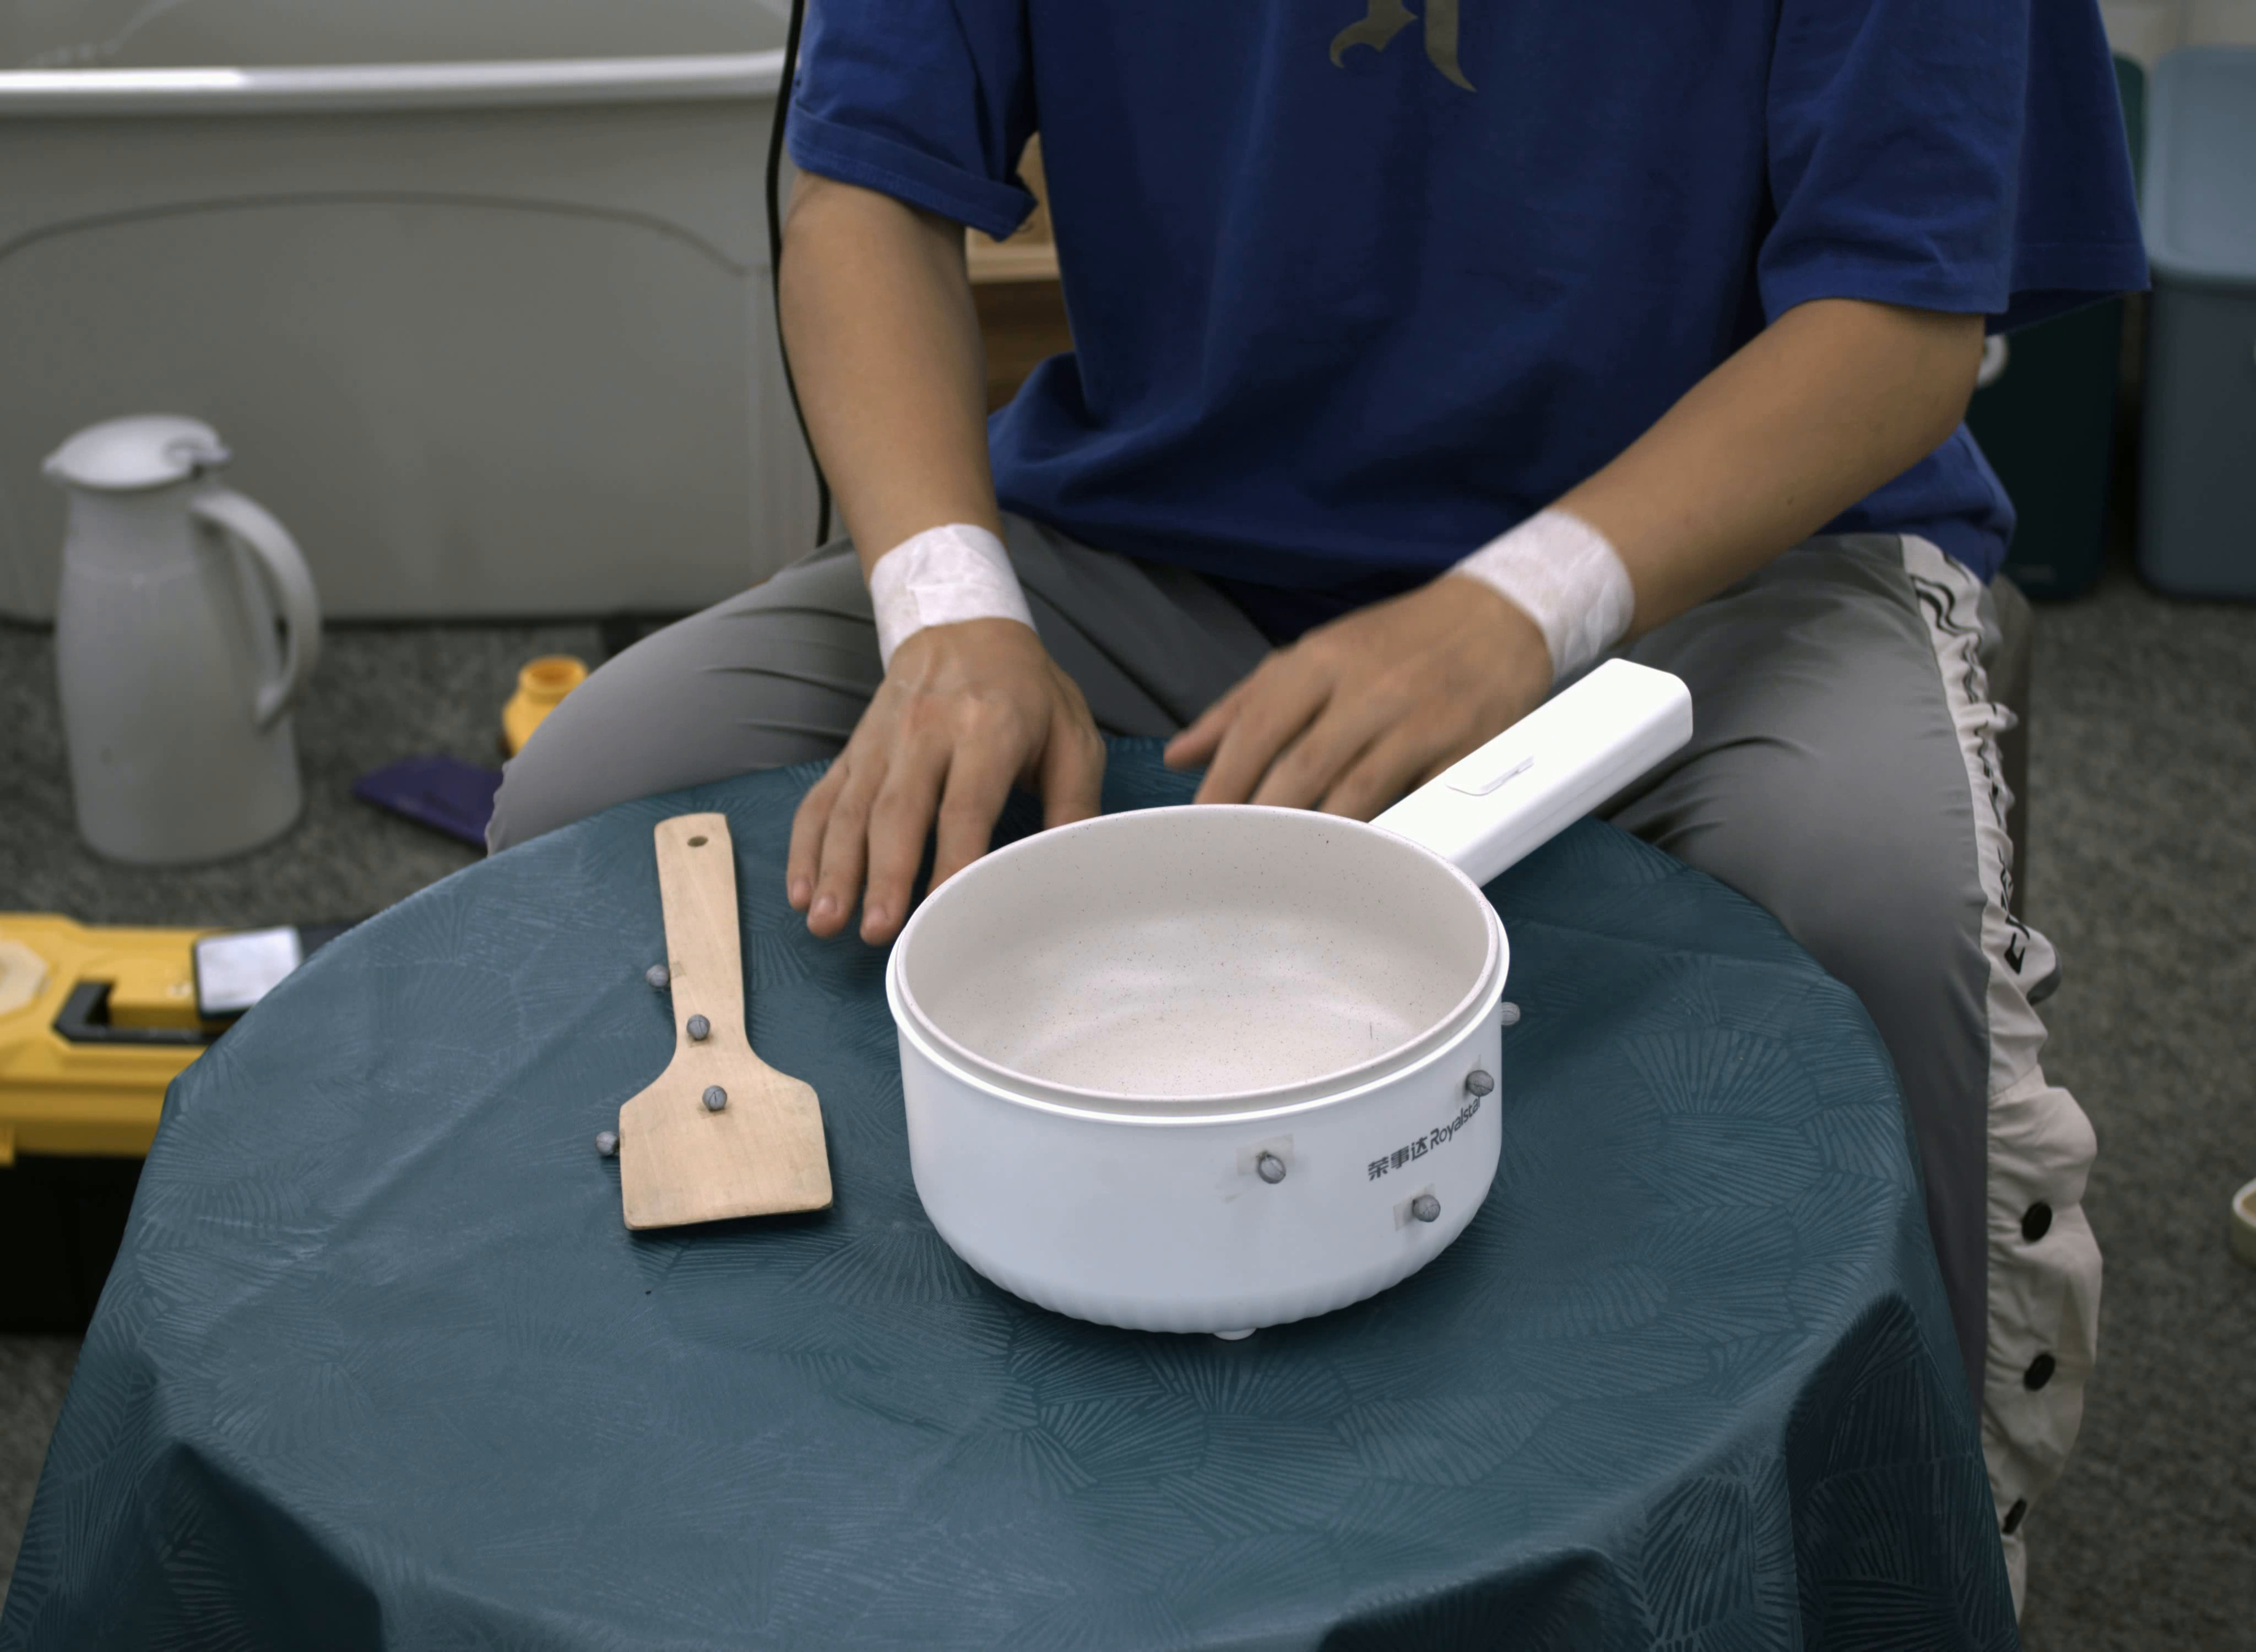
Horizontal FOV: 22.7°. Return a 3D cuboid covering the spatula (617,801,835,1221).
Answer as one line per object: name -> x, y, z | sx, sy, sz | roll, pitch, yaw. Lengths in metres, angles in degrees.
spatula -> -0.147, 0.061, 1.978 | 0.072, 0.010, 0.297 | -7, 28, -3

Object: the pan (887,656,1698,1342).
pan -> 0.074, 0.053, 1.880 | 0.200, 0.101, 0.360 | 16, 33, 36
